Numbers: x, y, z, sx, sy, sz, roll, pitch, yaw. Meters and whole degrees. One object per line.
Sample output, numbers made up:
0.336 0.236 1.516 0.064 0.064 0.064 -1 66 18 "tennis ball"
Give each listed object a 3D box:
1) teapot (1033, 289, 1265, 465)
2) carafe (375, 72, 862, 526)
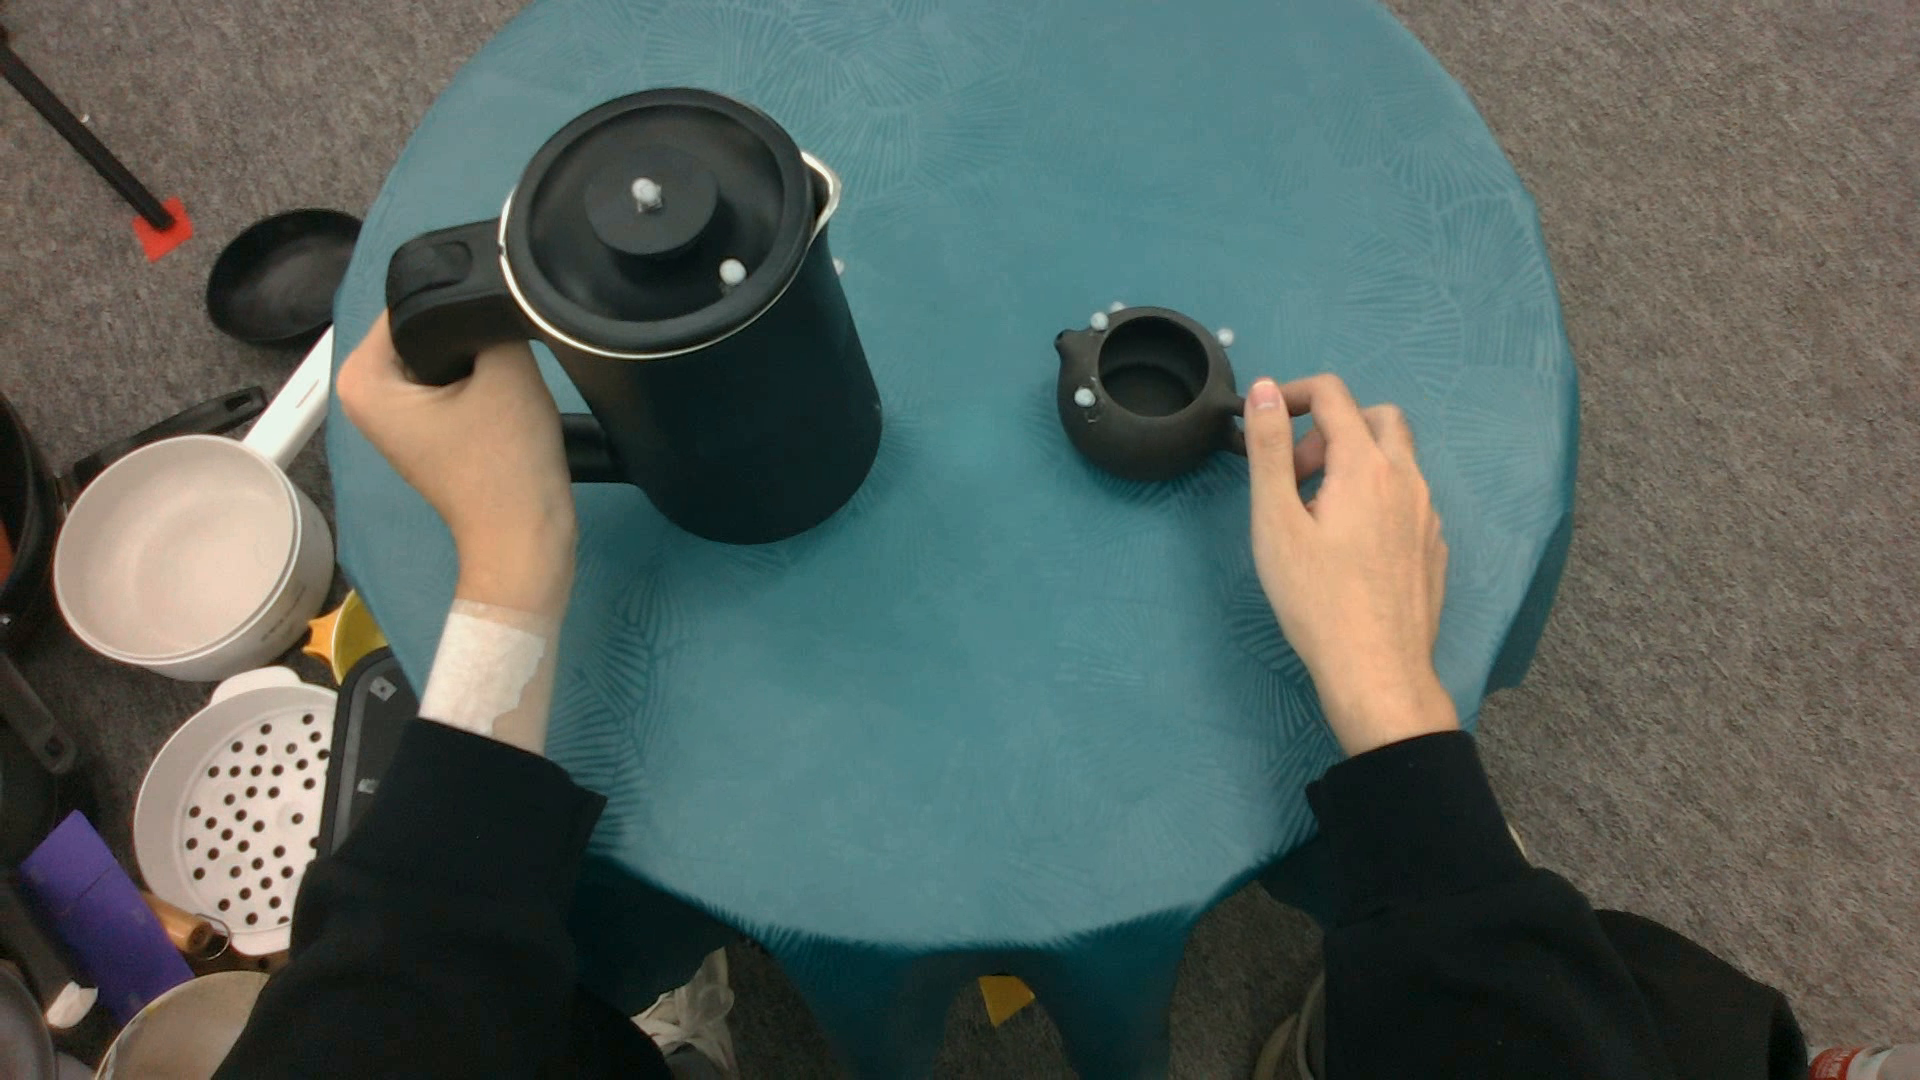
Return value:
0.086 -0.070 0.628 0.114 0.053 0.083 26 72 13 "teapot"
-0.125 -0.083 0.536 0.172 0.173 0.115 -12 69 -3 "carafe"
